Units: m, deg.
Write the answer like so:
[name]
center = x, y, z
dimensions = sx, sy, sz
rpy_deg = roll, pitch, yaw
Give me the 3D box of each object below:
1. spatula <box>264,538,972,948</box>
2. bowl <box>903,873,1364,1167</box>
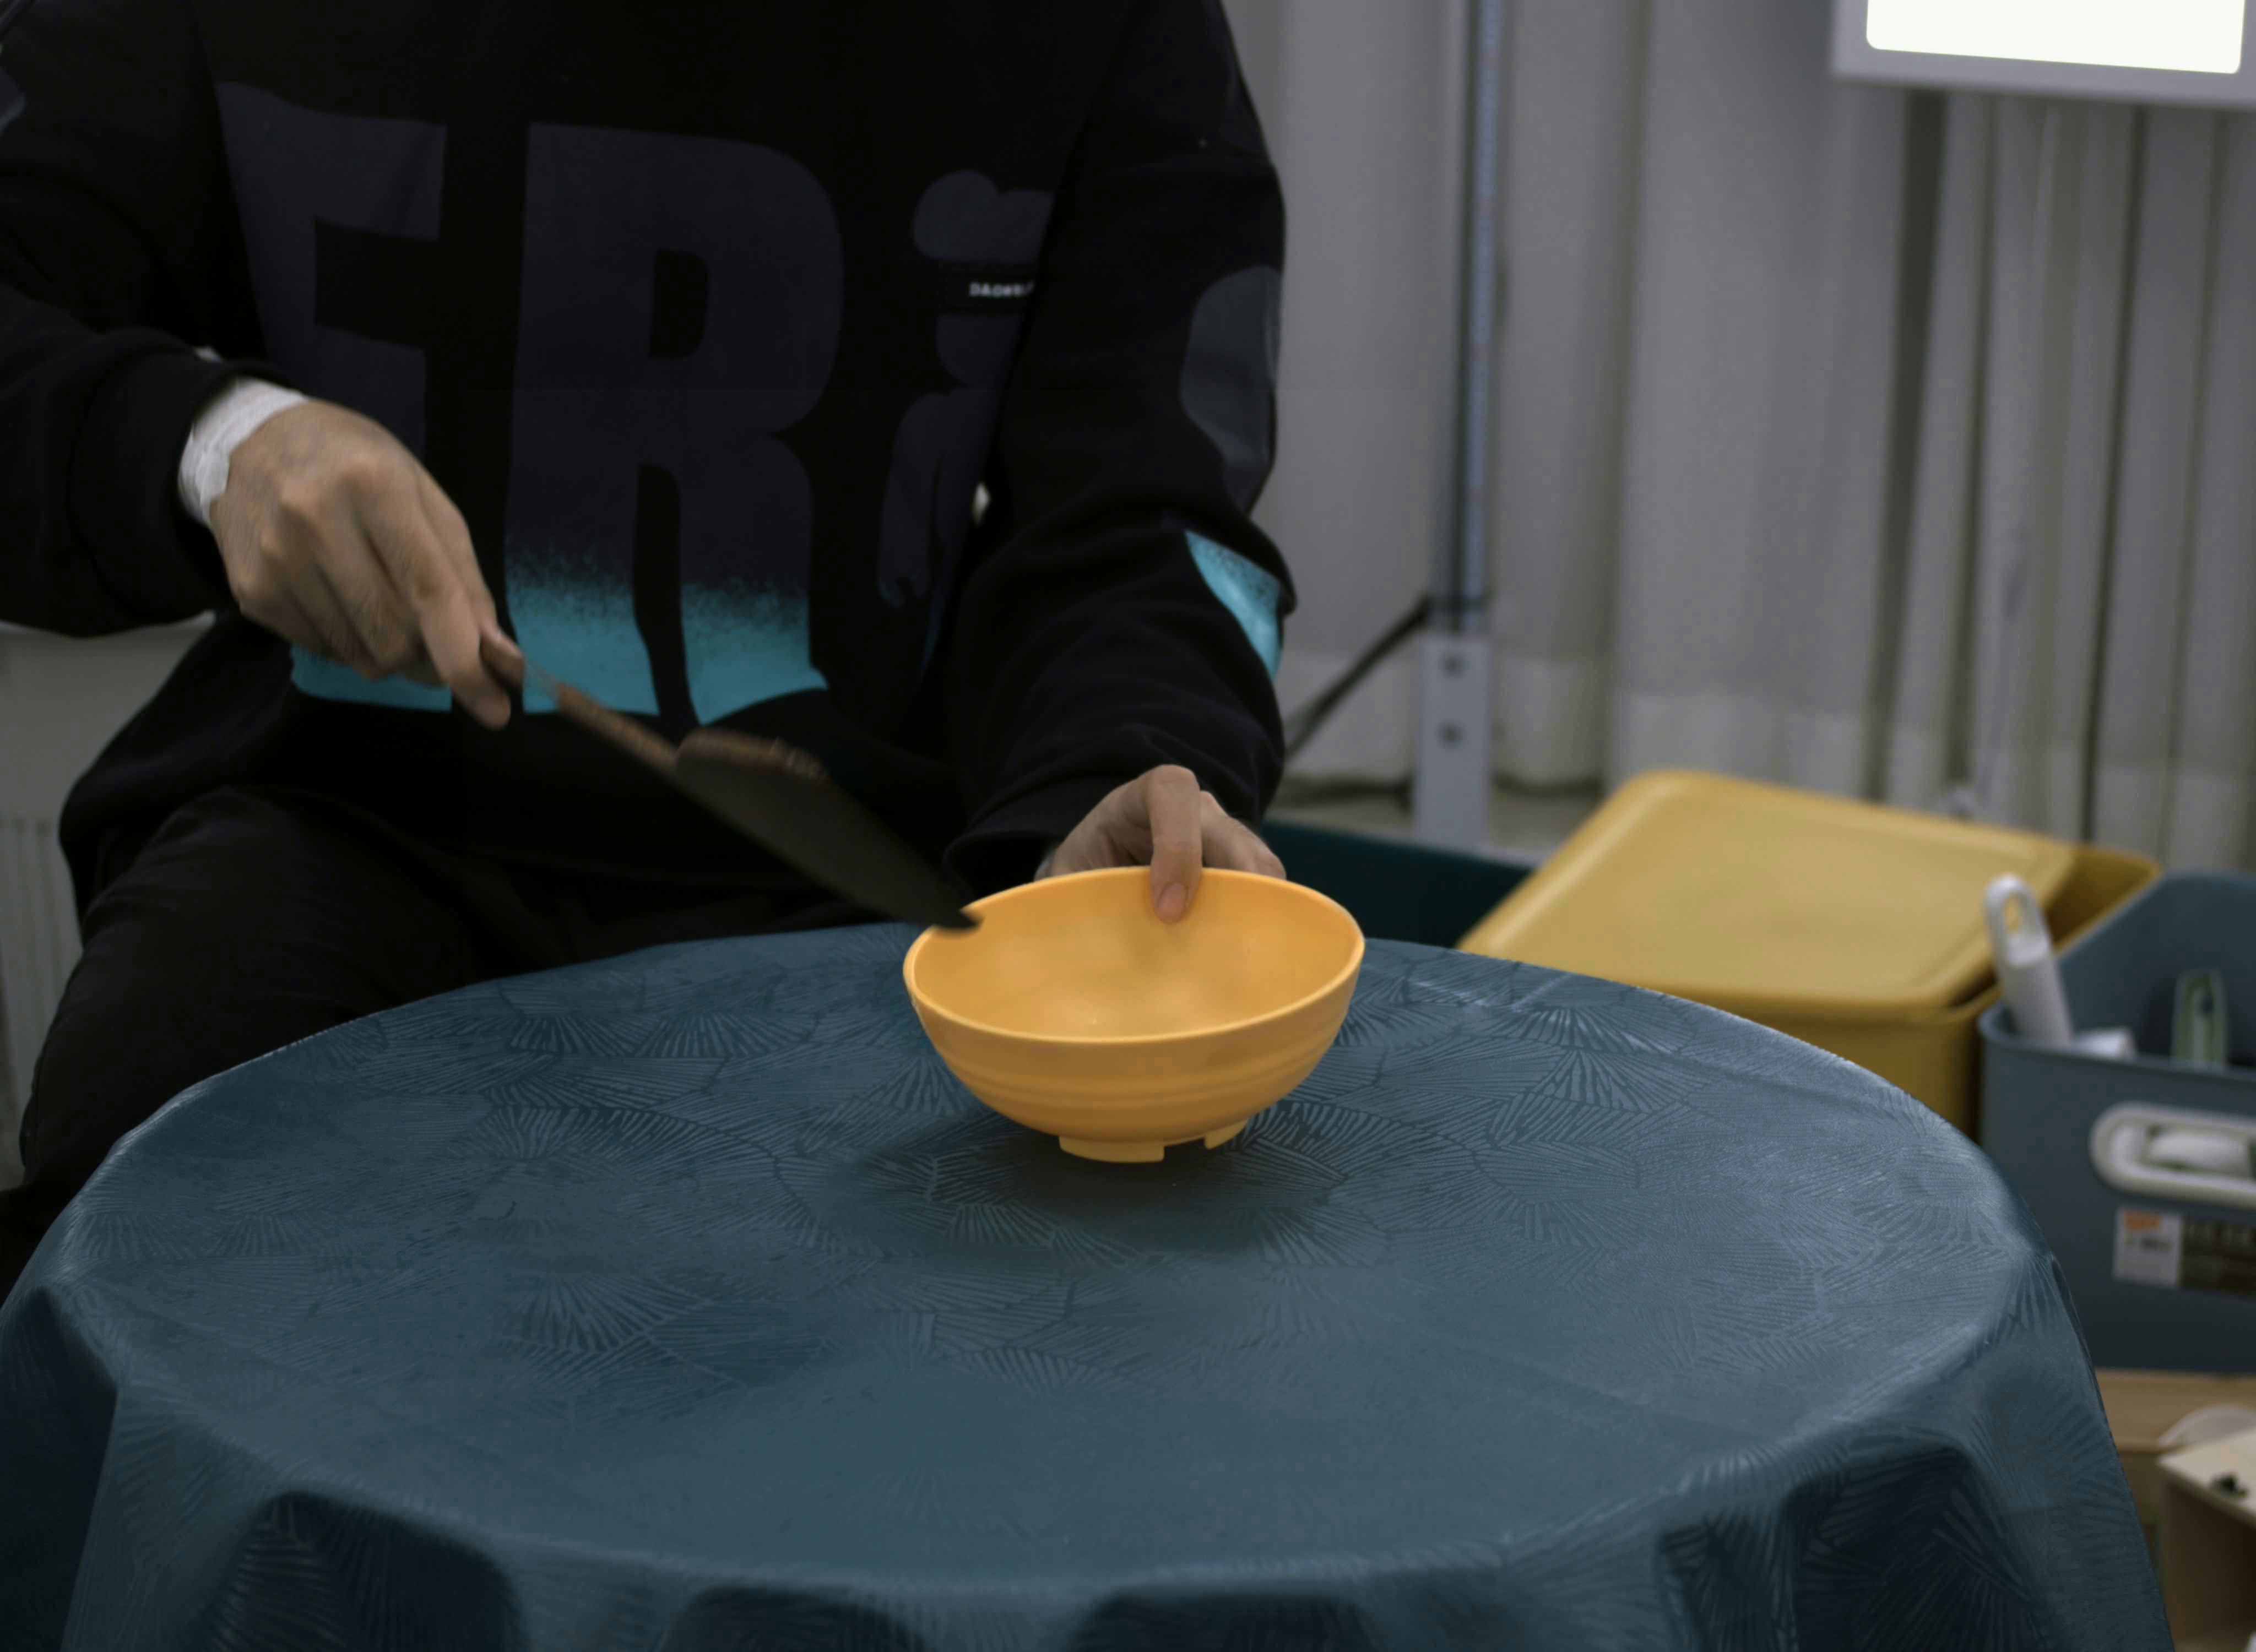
[spatula]
center = -0.177, -0.037, 1.653
dimensions = 0.380, 0.016, 0.097
rpy_deg = 27, -13, 49
[bowl]
center = 0.001, 0.067, 1.655
dimensions = 0.145, 0.060, 0.144
rpy_deg = 1, 20, 0
